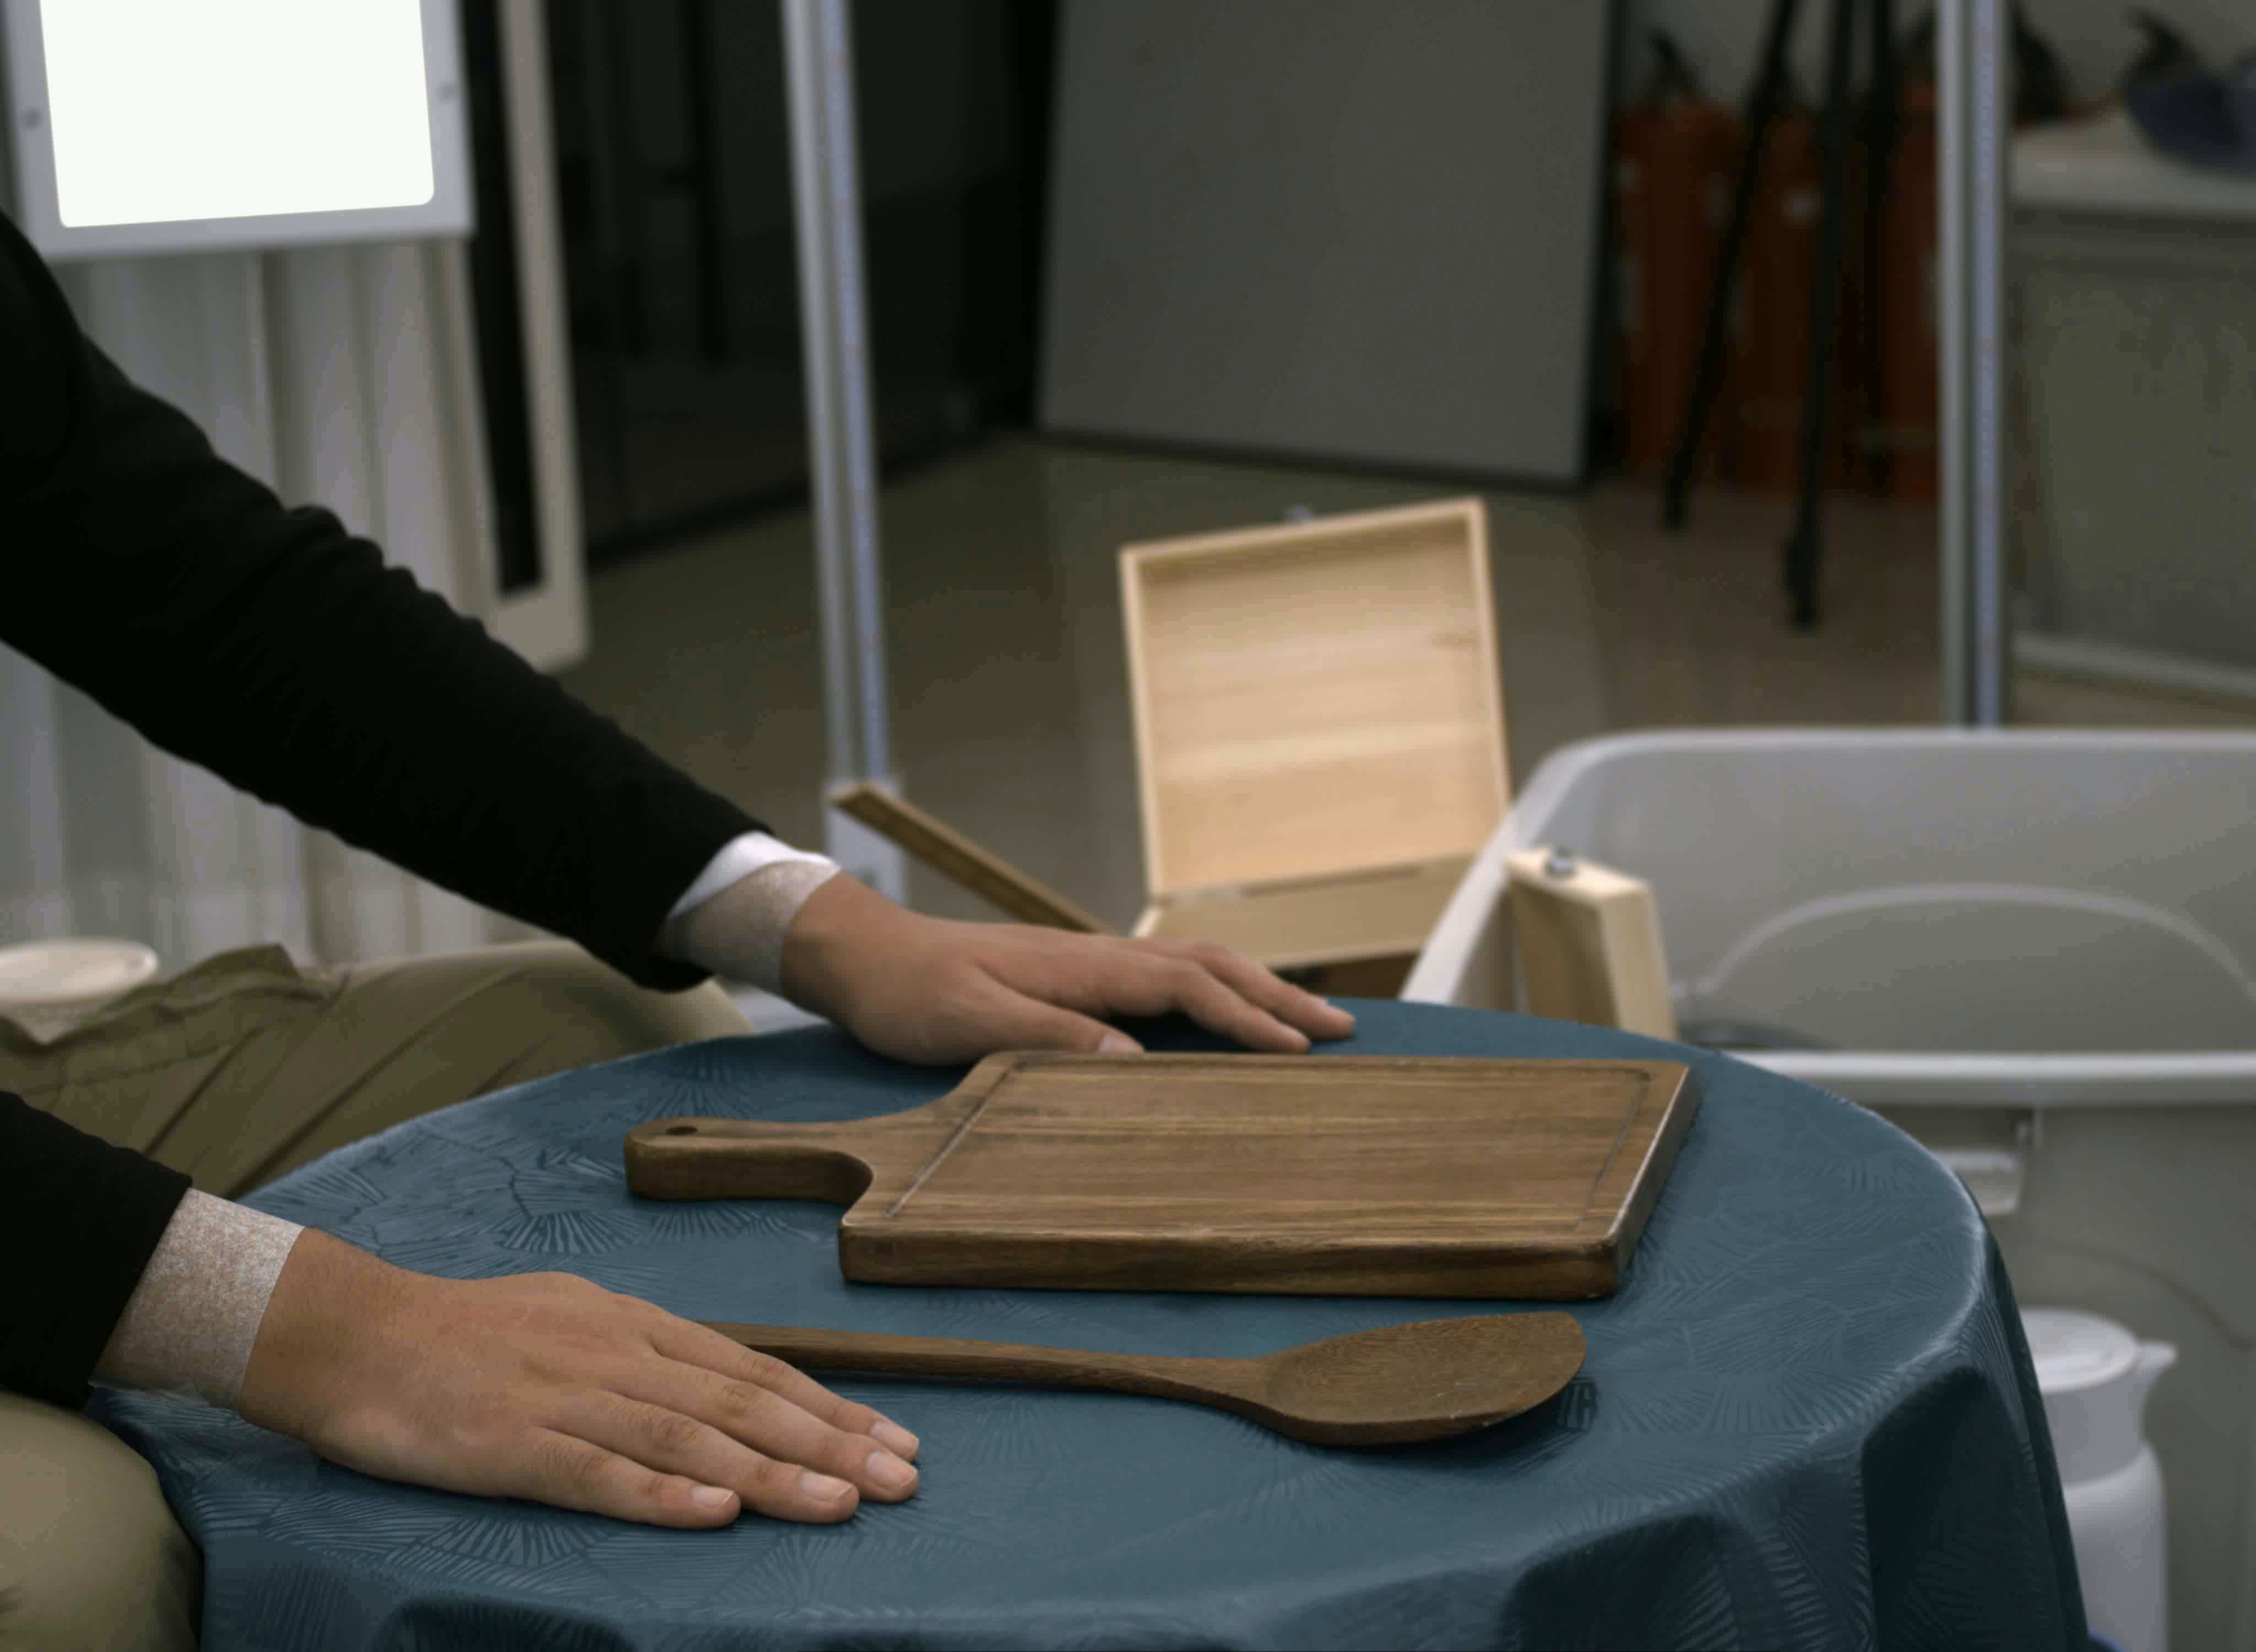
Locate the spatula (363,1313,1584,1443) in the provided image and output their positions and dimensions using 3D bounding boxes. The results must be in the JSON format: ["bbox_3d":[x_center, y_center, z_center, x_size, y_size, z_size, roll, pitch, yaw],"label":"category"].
[{"bbox_3d":[-0.053,0.159,1.602,0.385,0.016,0.095,0,14,19],"label":"spatula"}]

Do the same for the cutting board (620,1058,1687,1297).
[{"bbox_3d":[0.001,0.112,1.764,0.350,0.023,0.200,-1,14,15],"label":"cutting board"}]
